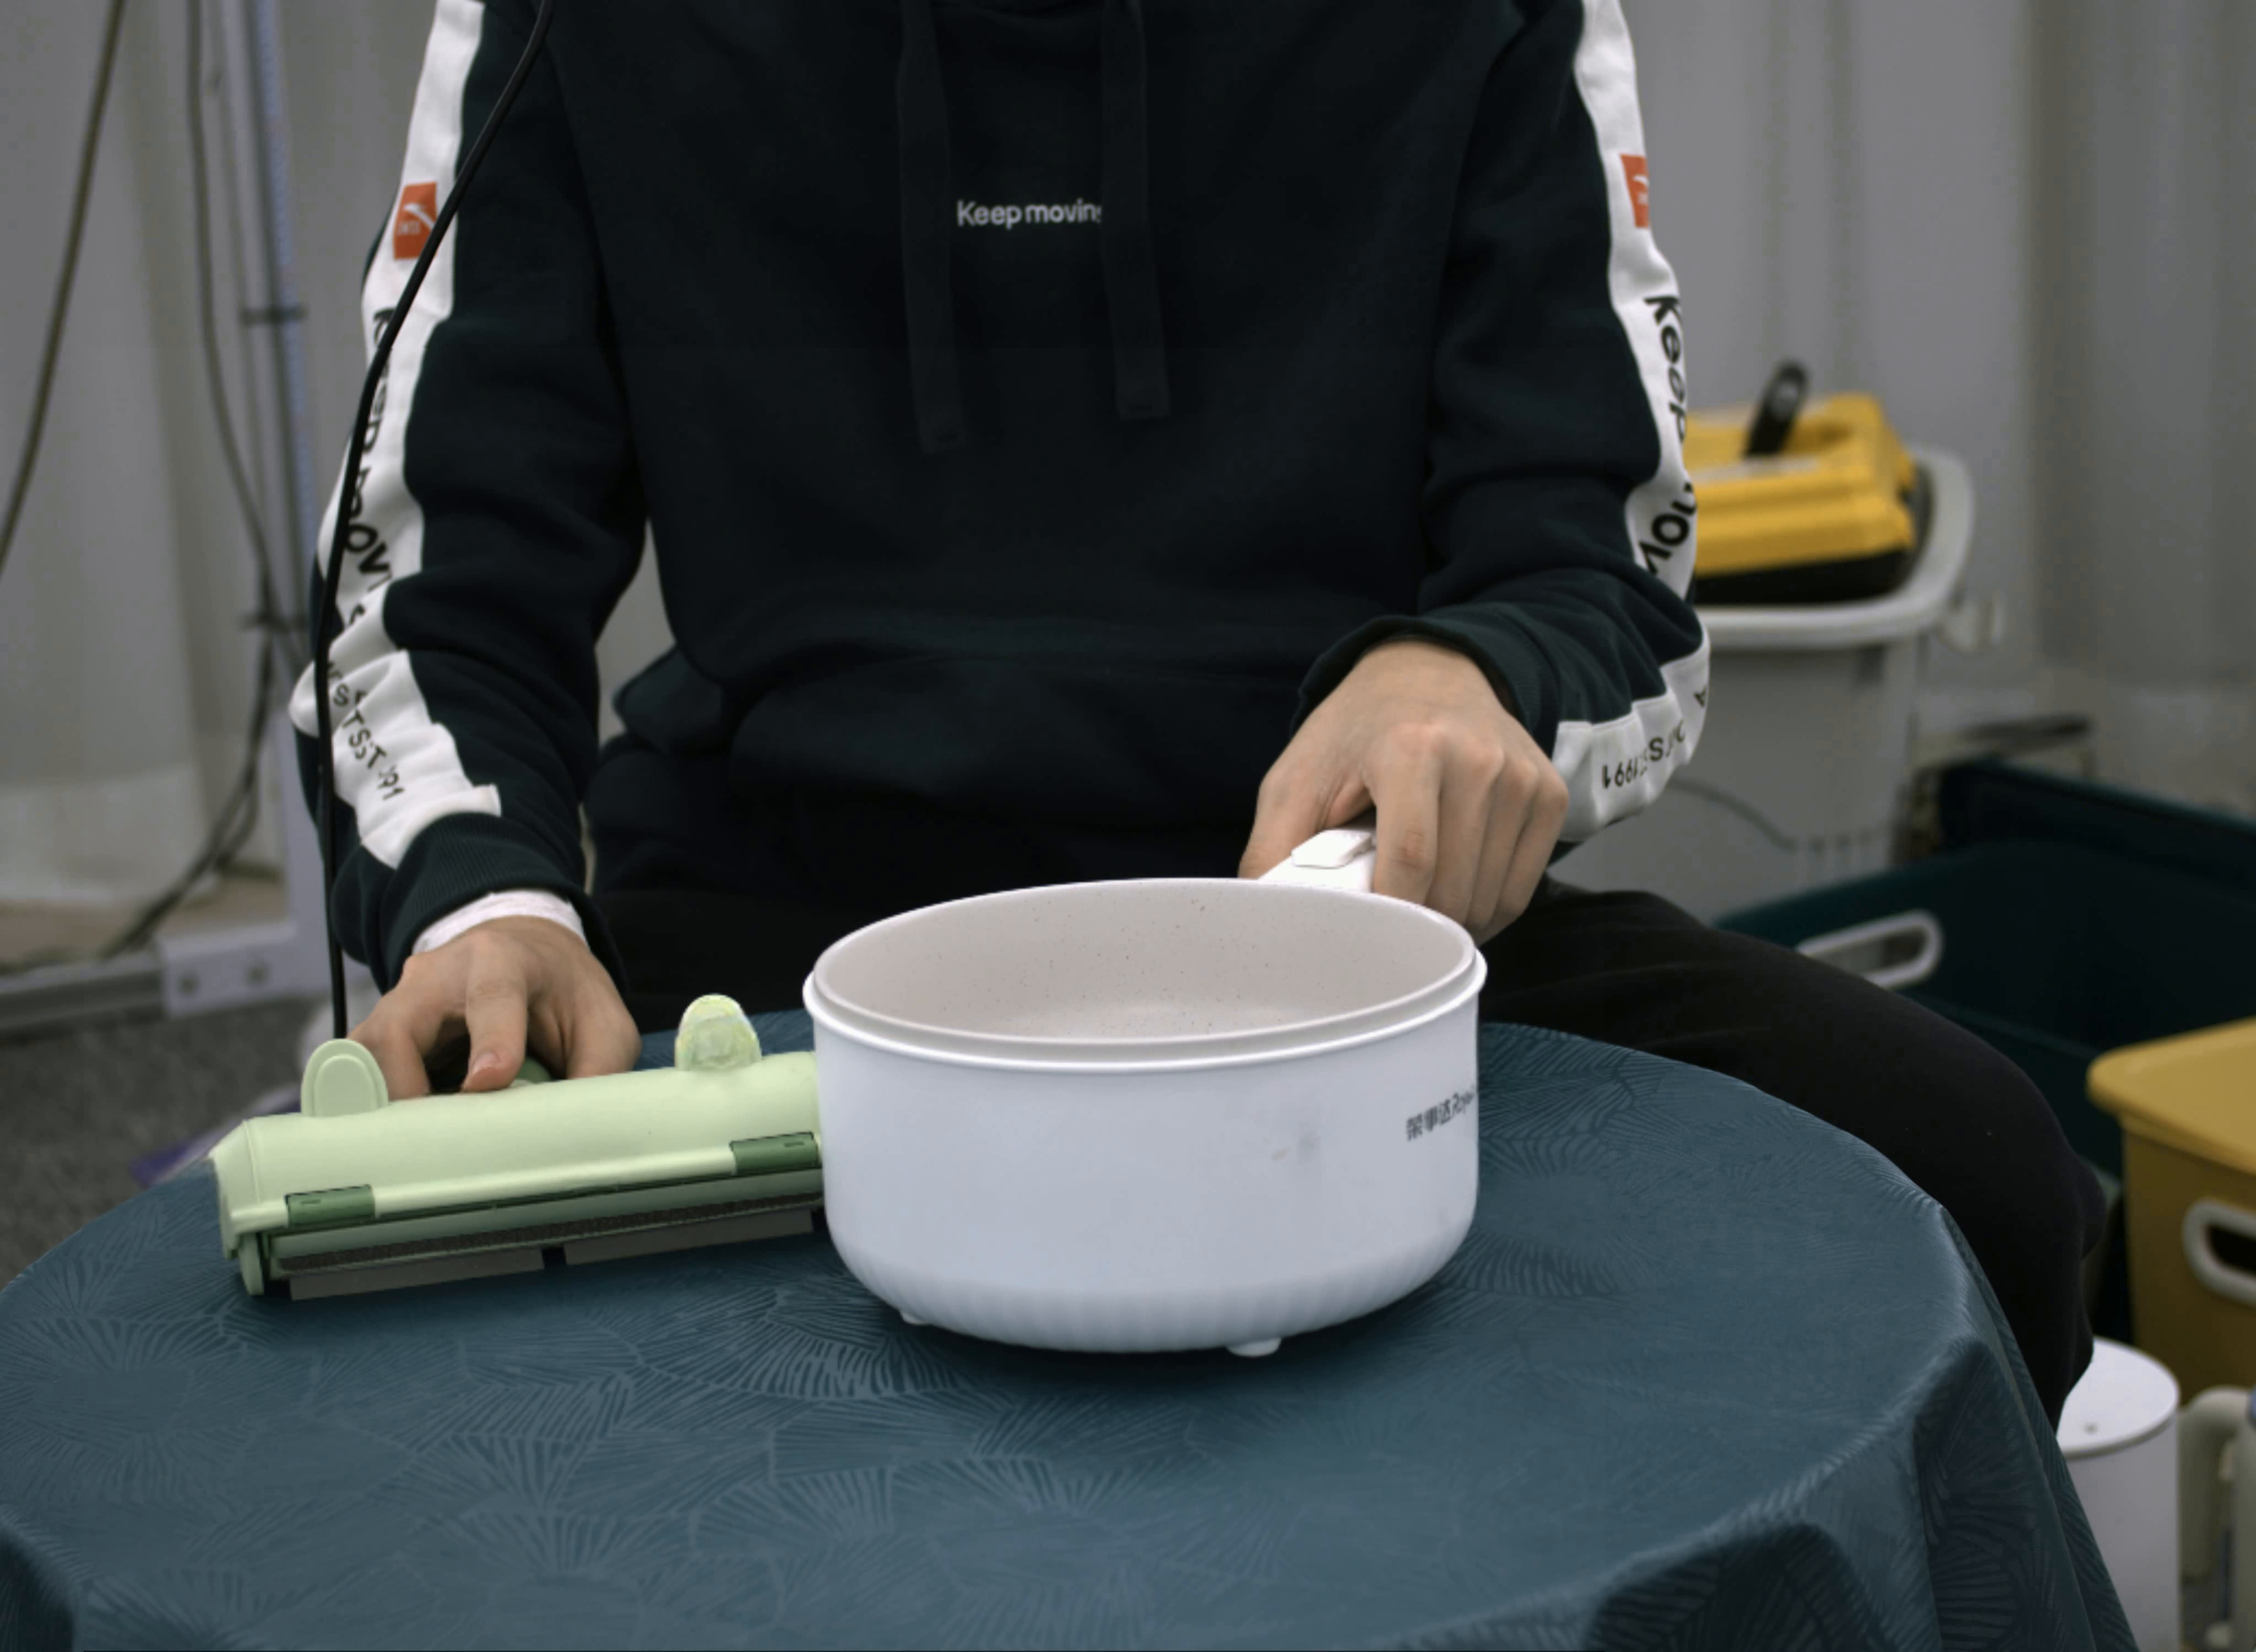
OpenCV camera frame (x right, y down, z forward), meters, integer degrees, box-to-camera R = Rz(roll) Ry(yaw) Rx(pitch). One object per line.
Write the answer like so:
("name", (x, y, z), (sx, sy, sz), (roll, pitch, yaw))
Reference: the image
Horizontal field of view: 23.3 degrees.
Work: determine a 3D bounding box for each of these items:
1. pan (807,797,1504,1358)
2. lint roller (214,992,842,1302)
("pan", (0.037, 0.072, 1.682), (0.201, 0.102, 0.355), (2, 12, 23))
("lint roller", (-0.194, 0.083, 1.729), (0.198, 0.081, 0.185), (-7, 20, -12))
